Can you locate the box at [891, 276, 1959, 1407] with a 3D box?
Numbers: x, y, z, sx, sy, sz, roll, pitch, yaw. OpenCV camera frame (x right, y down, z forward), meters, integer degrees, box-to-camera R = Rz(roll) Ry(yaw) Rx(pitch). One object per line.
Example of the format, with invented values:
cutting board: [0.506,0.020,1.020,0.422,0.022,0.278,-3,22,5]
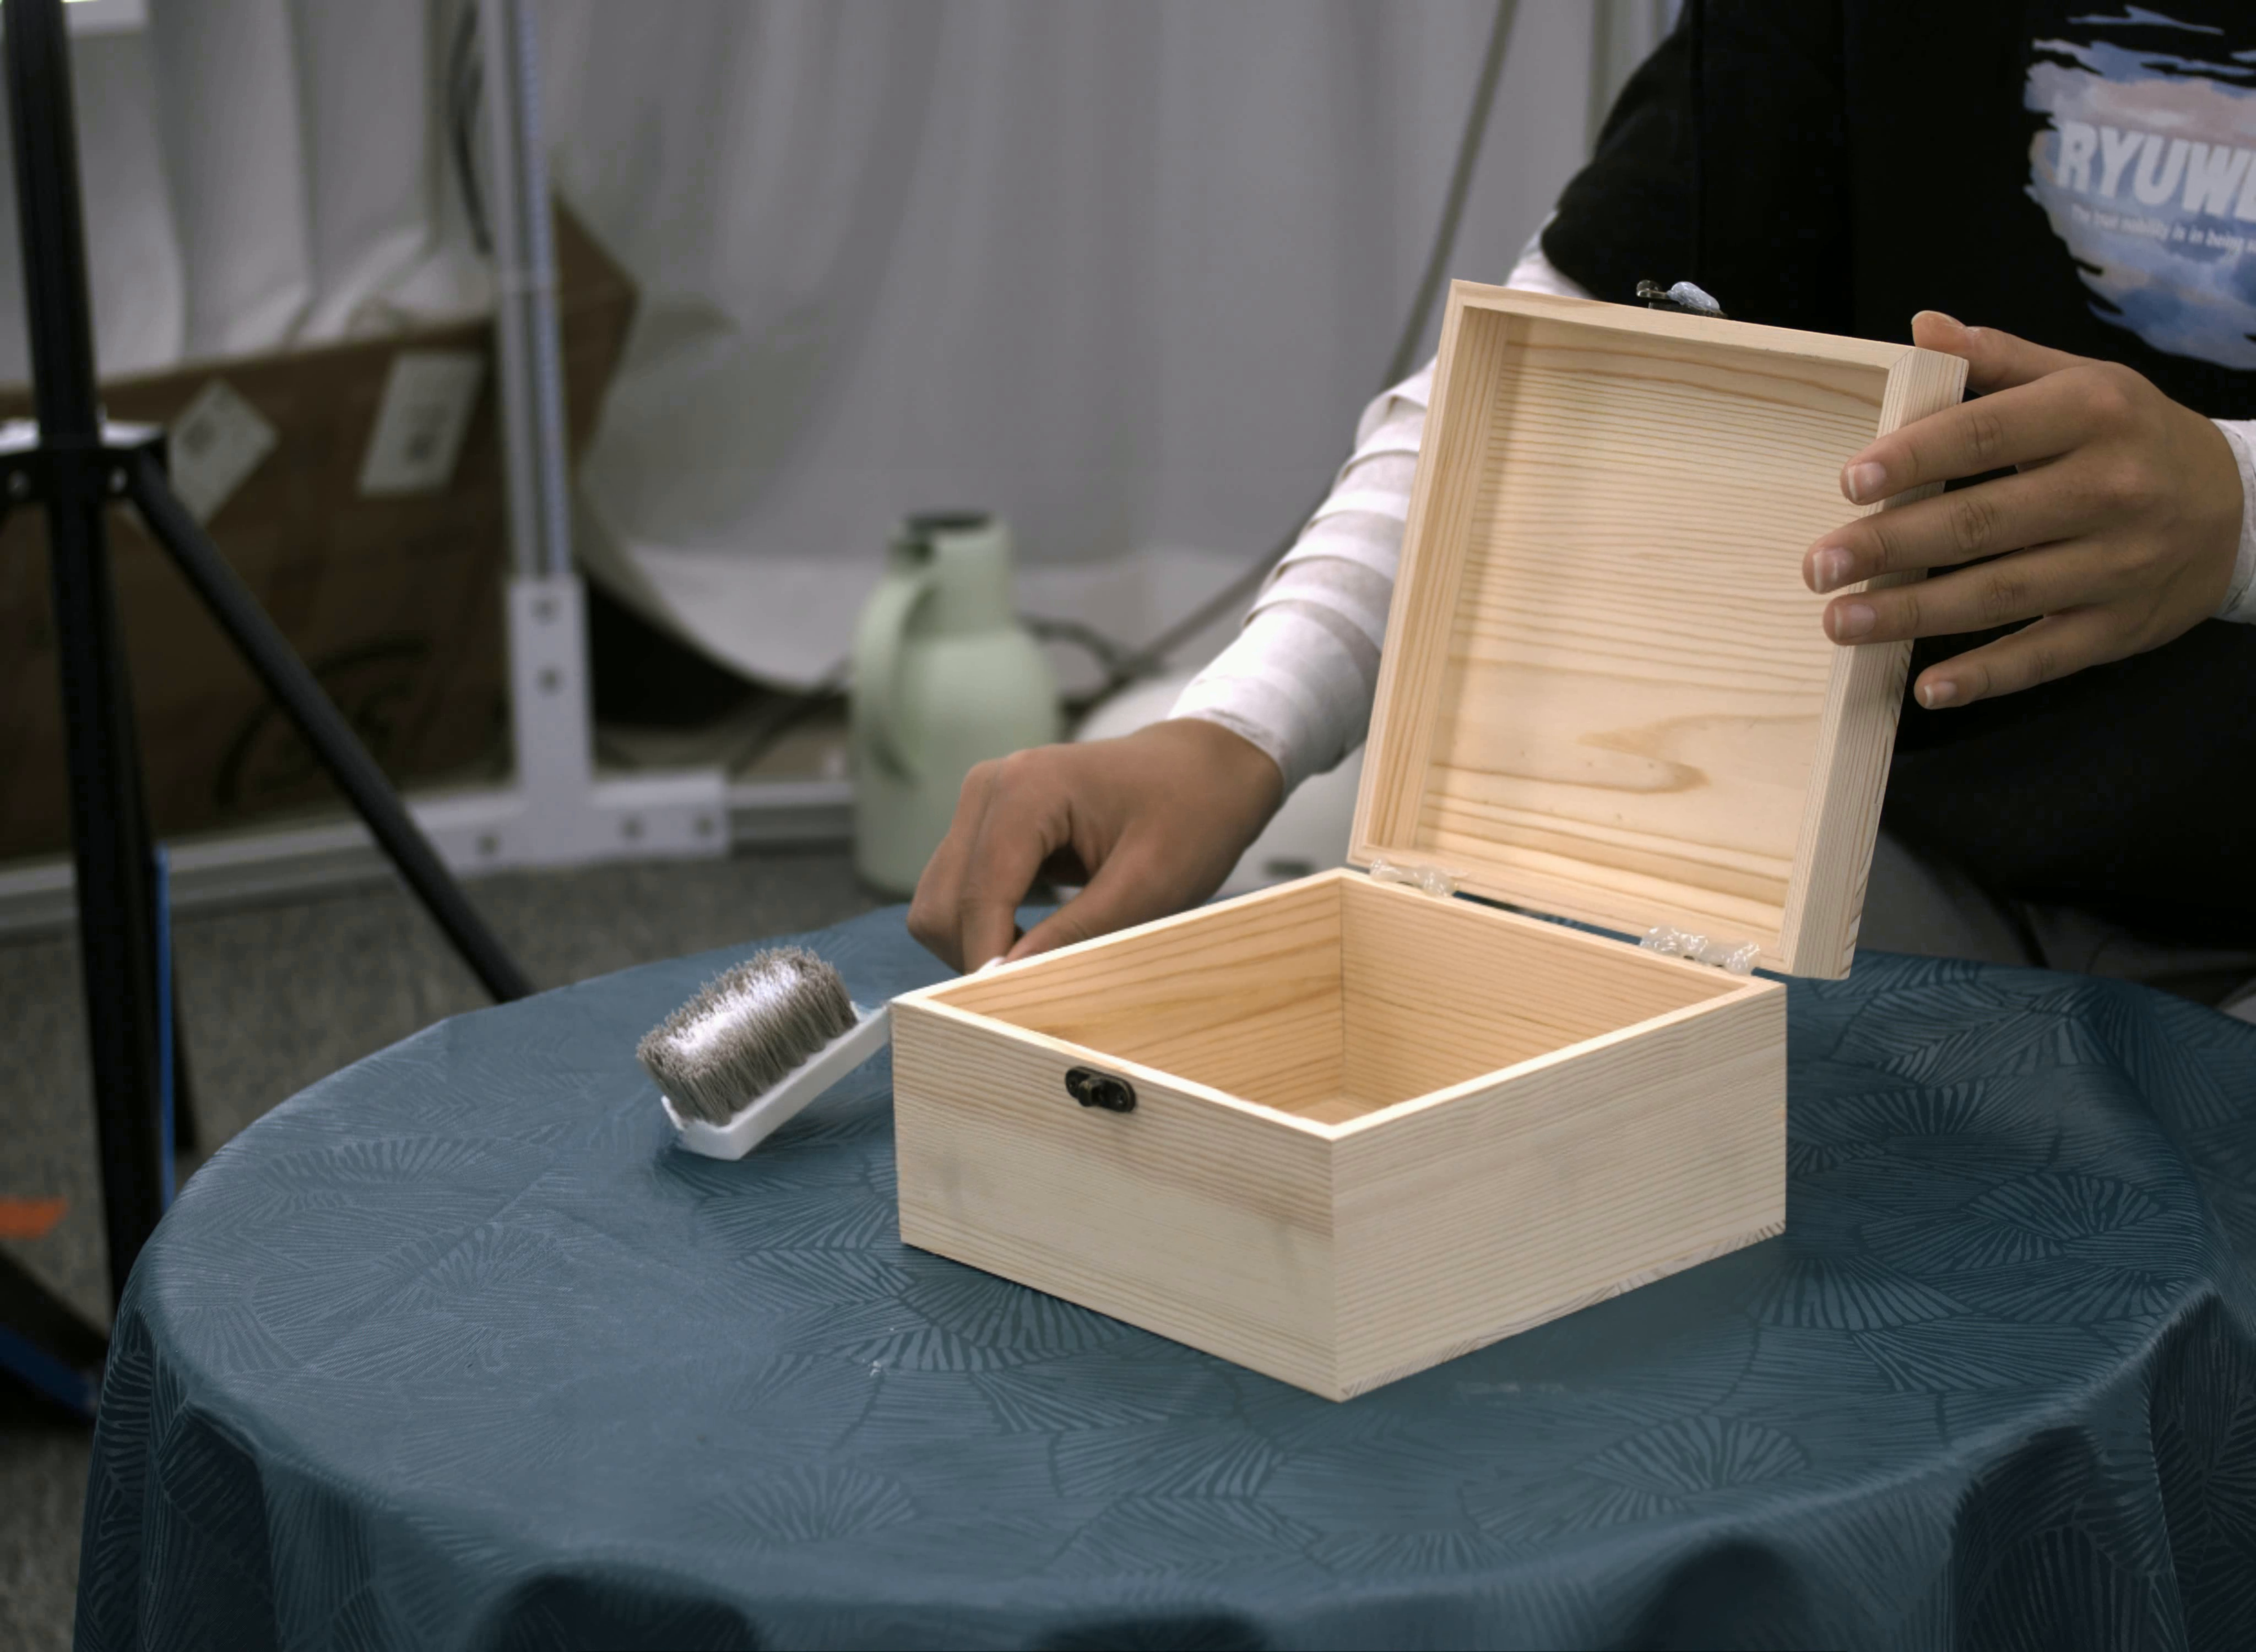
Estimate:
box: [0.082,-0.008,1.504,0.259,0.253,0.186,-15,18,-40]

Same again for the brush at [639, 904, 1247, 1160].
brush: [-0.052,0.046,1.670,0.238,0.050,0.035,-21,31,-38]
